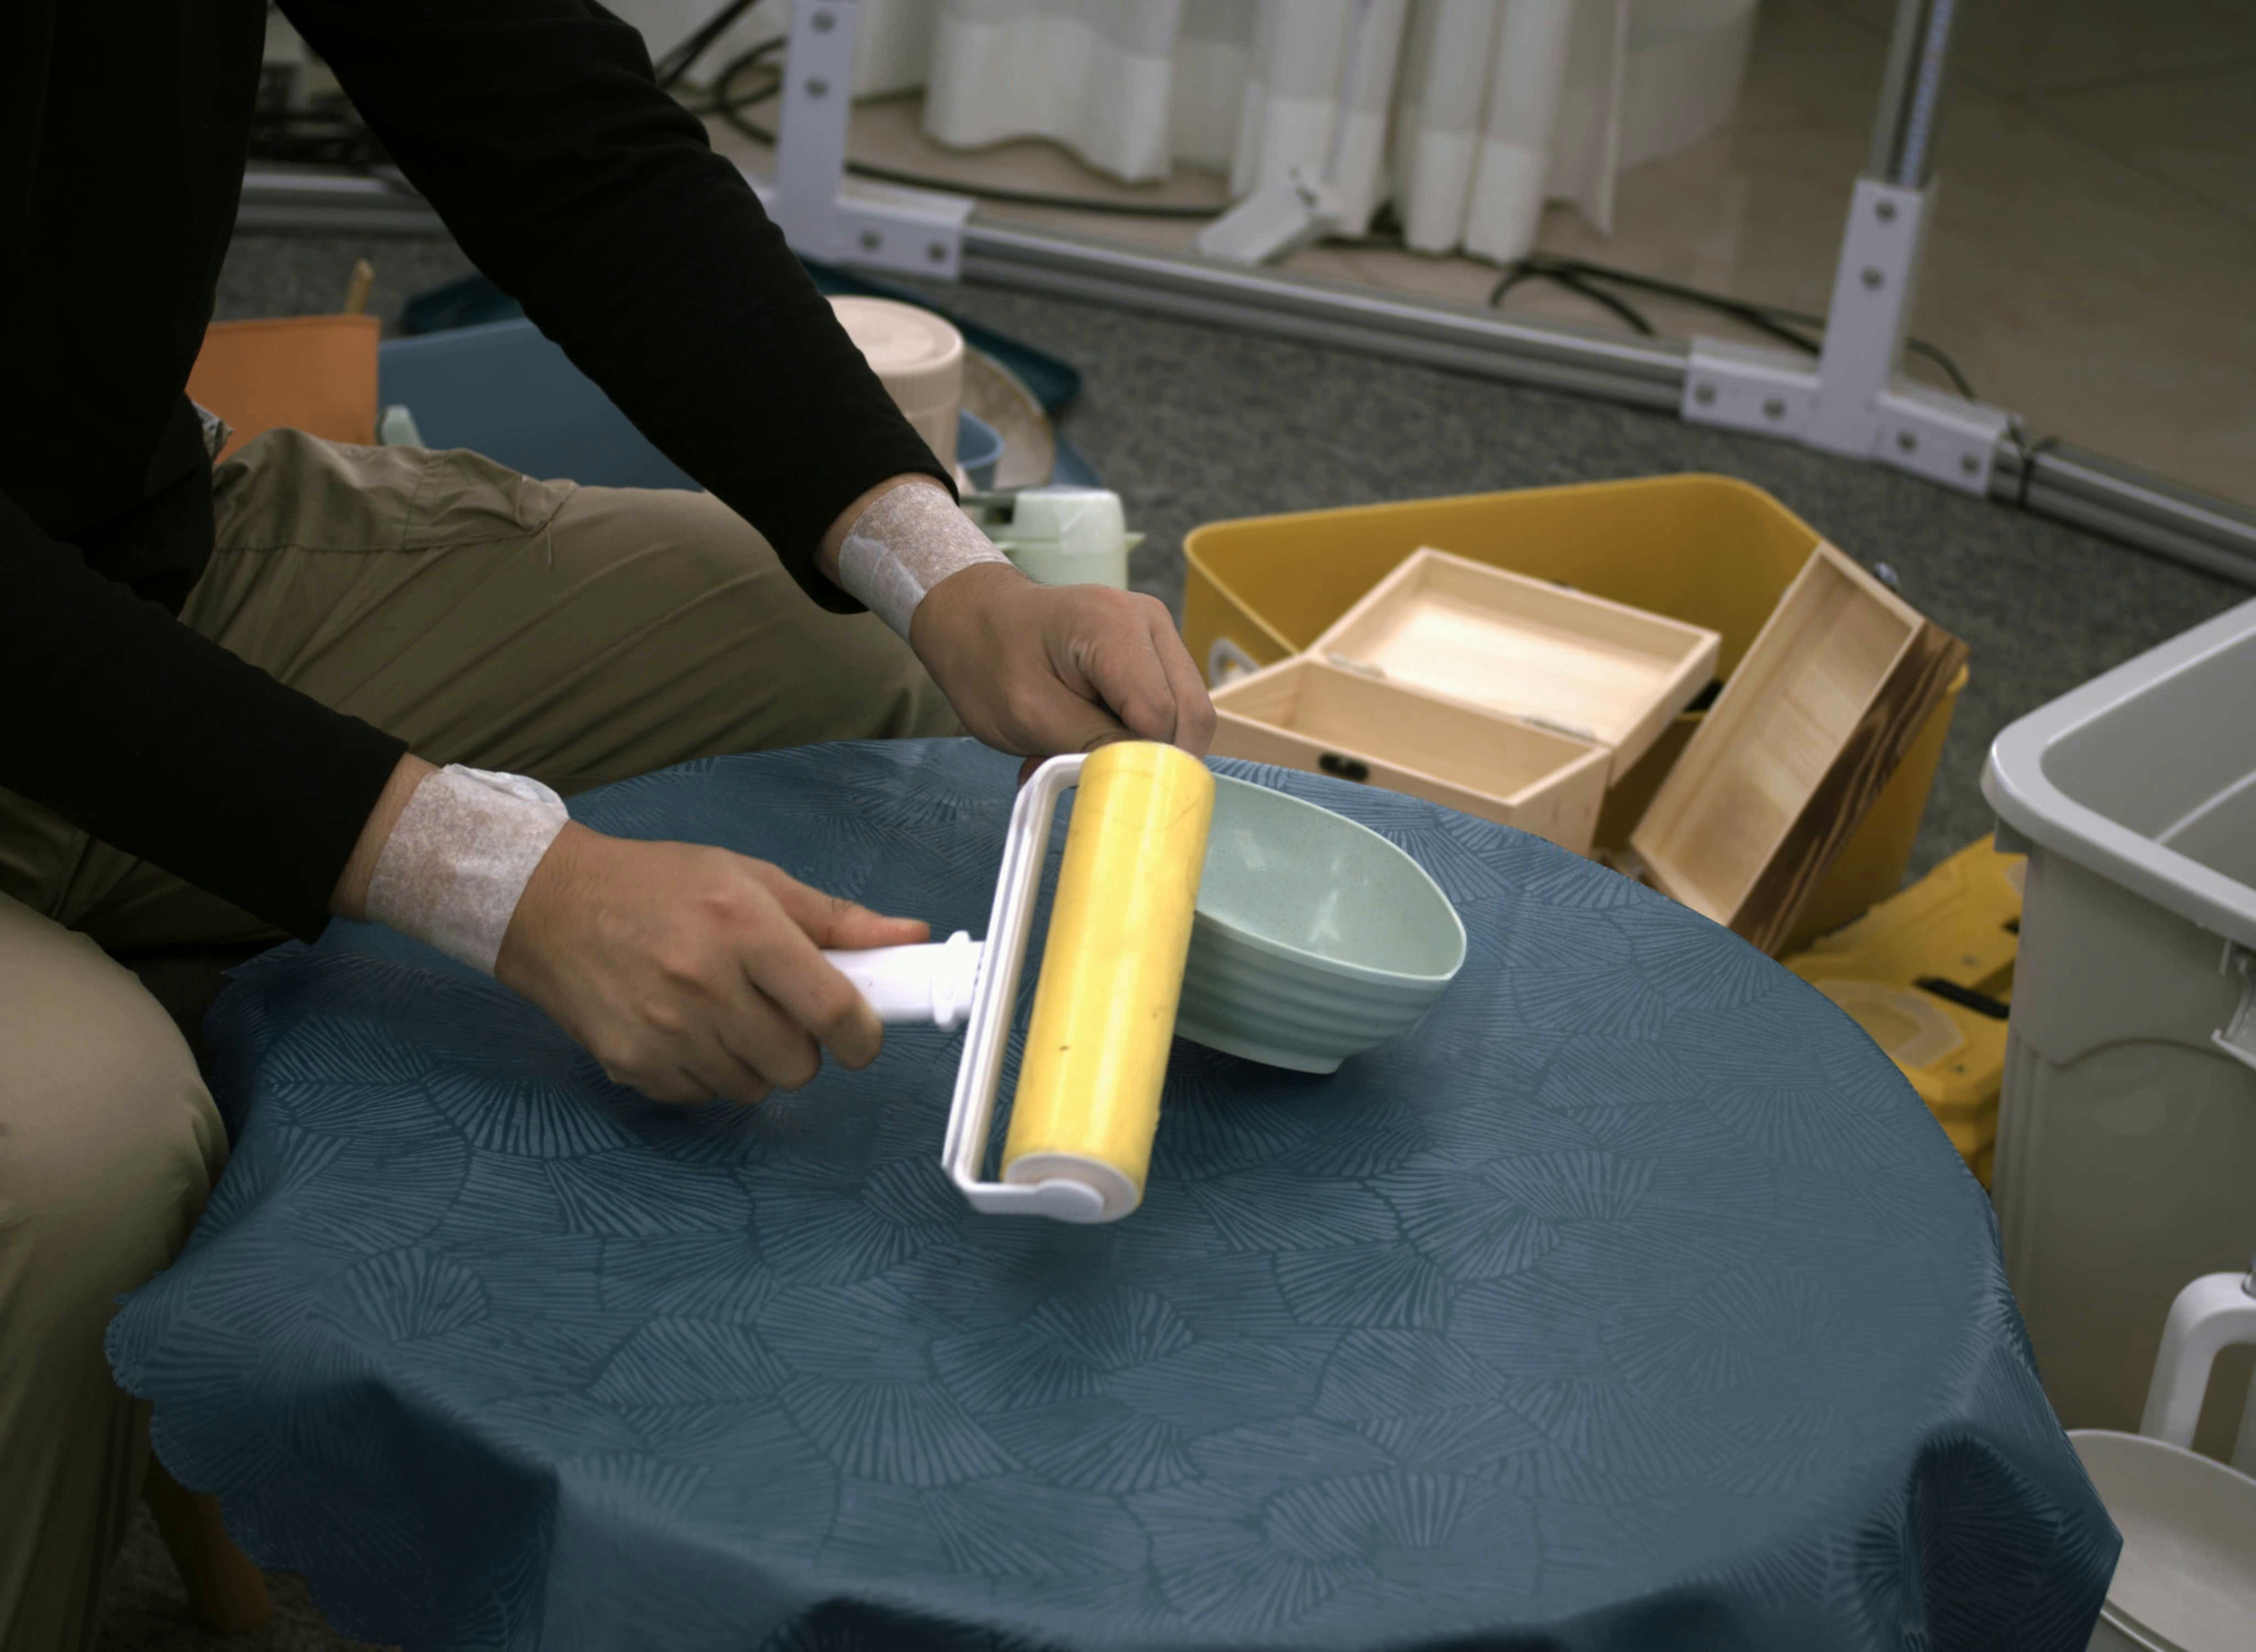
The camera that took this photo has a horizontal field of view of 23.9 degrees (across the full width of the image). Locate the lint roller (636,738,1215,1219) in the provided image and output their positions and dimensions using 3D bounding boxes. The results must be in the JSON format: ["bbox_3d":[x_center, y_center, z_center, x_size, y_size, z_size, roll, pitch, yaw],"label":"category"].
[{"bbox_3d":[-0.074,0.048,1.778,0.192,0.051,0.175,3,56,9],"label":"lint roller"}]

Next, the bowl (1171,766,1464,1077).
[{"bbox_3d":[0.044,0.039,1.892,0.151,0.058,0.152,22,21,-9],"label":"bowl"}]
